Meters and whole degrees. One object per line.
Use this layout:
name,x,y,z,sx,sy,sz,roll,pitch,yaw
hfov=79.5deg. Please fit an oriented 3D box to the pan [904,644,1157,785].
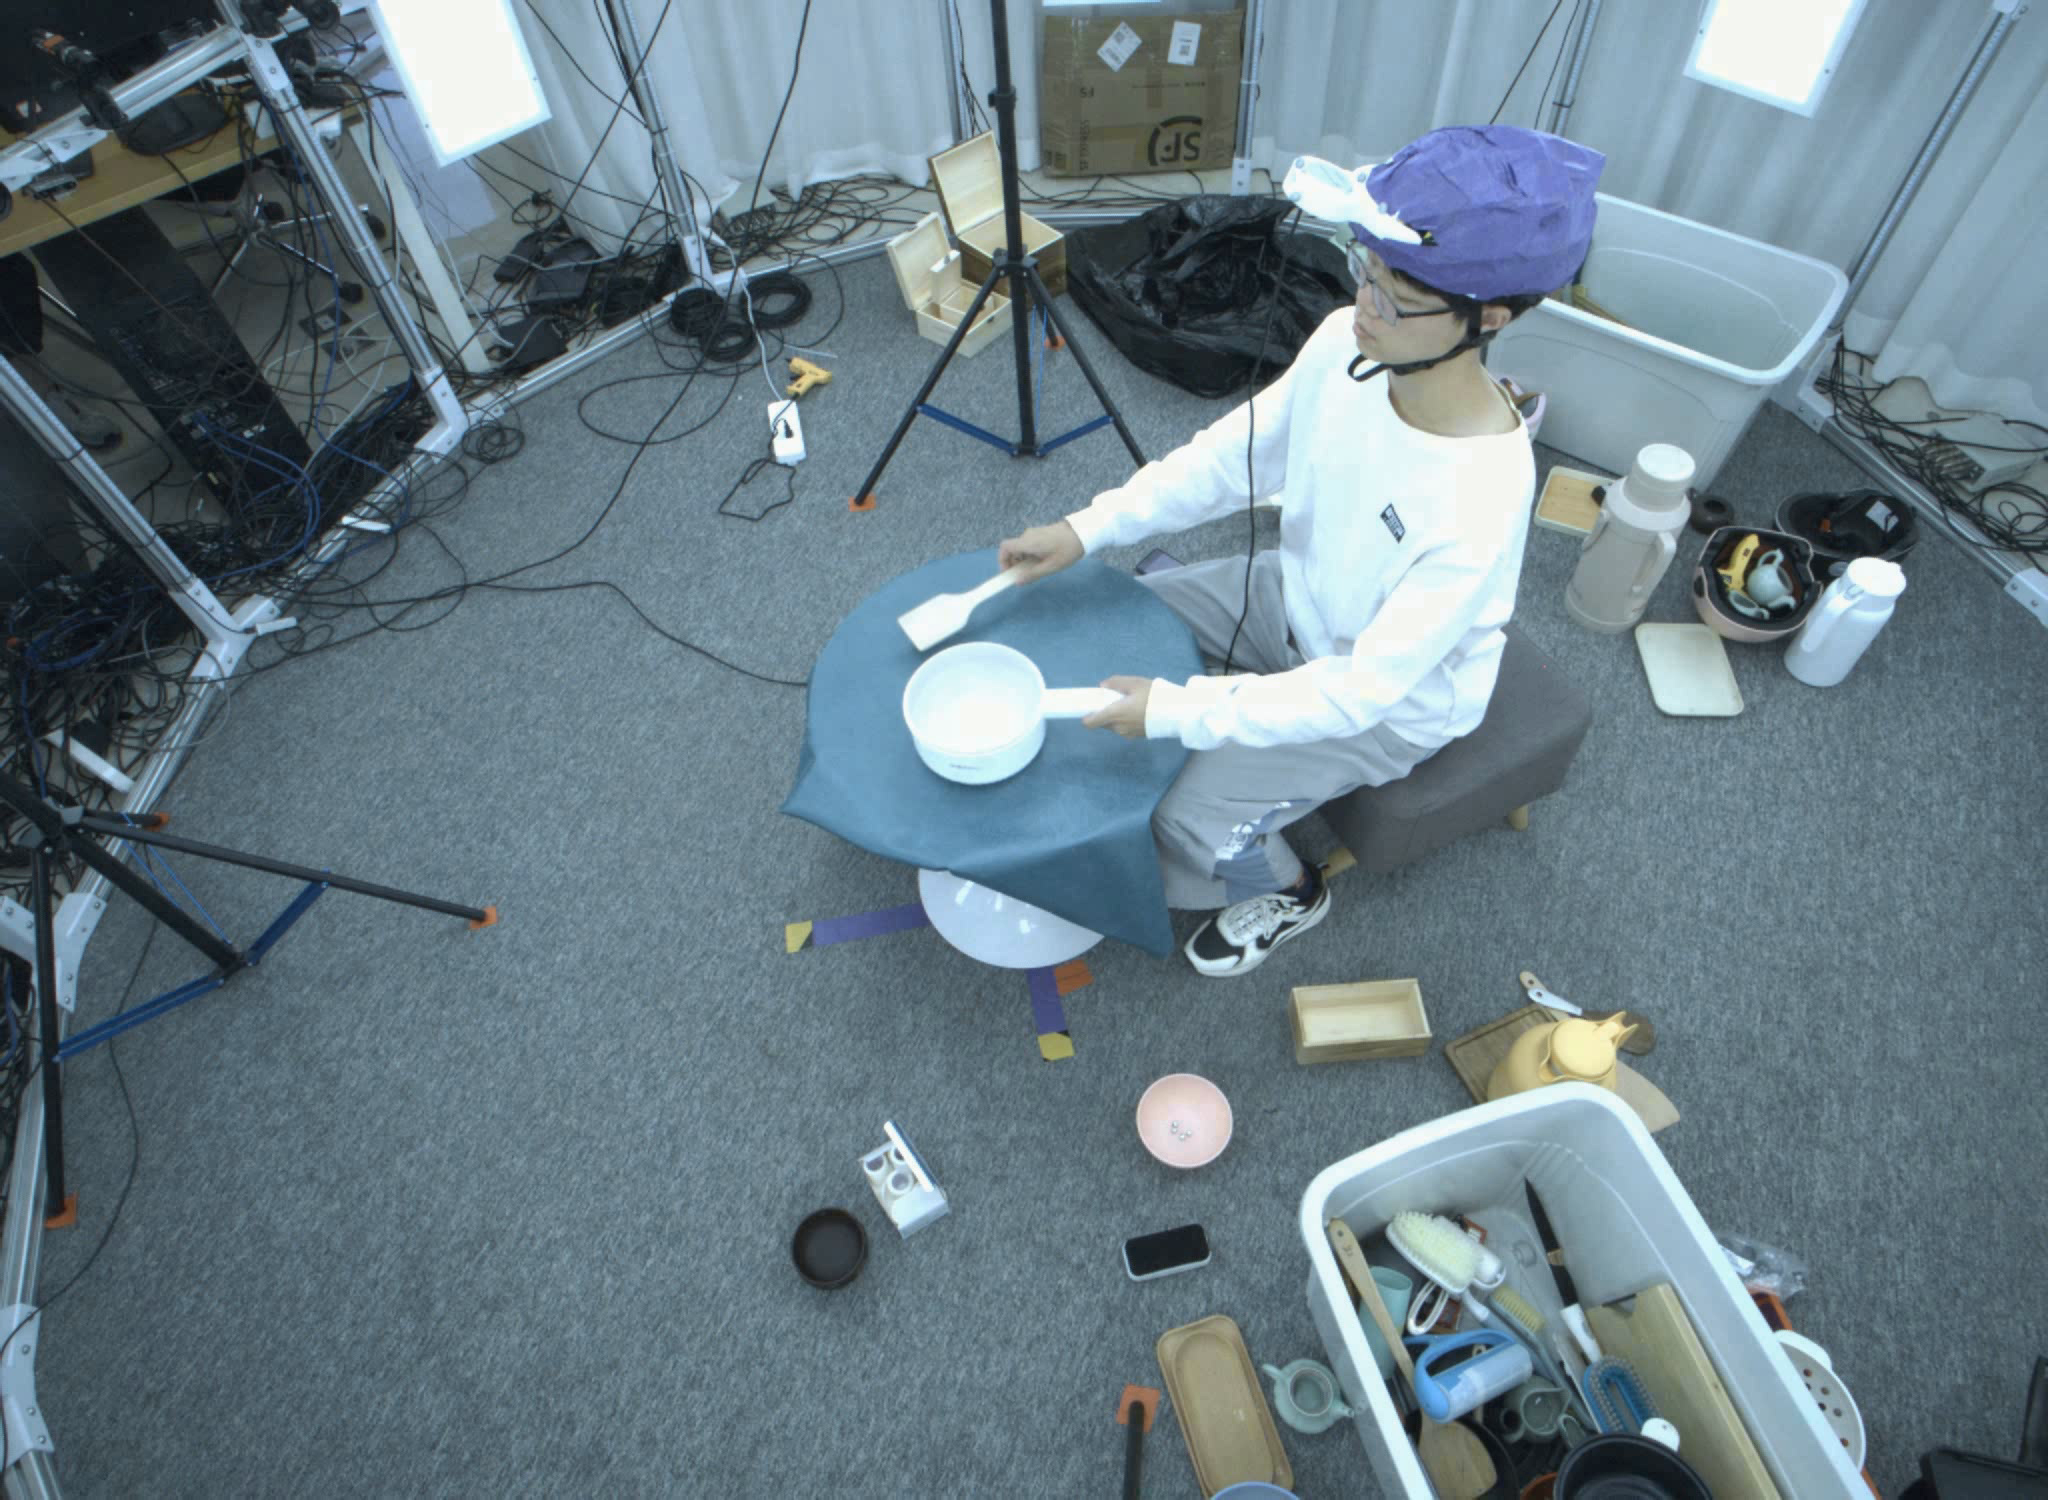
pan,0.011,-0.046,1.754,0.354,0.103,0.199,0,54,2

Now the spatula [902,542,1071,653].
spatula,-0.051,-0.246,1.901,0.295,0.011,0.071,-32,69,-14
